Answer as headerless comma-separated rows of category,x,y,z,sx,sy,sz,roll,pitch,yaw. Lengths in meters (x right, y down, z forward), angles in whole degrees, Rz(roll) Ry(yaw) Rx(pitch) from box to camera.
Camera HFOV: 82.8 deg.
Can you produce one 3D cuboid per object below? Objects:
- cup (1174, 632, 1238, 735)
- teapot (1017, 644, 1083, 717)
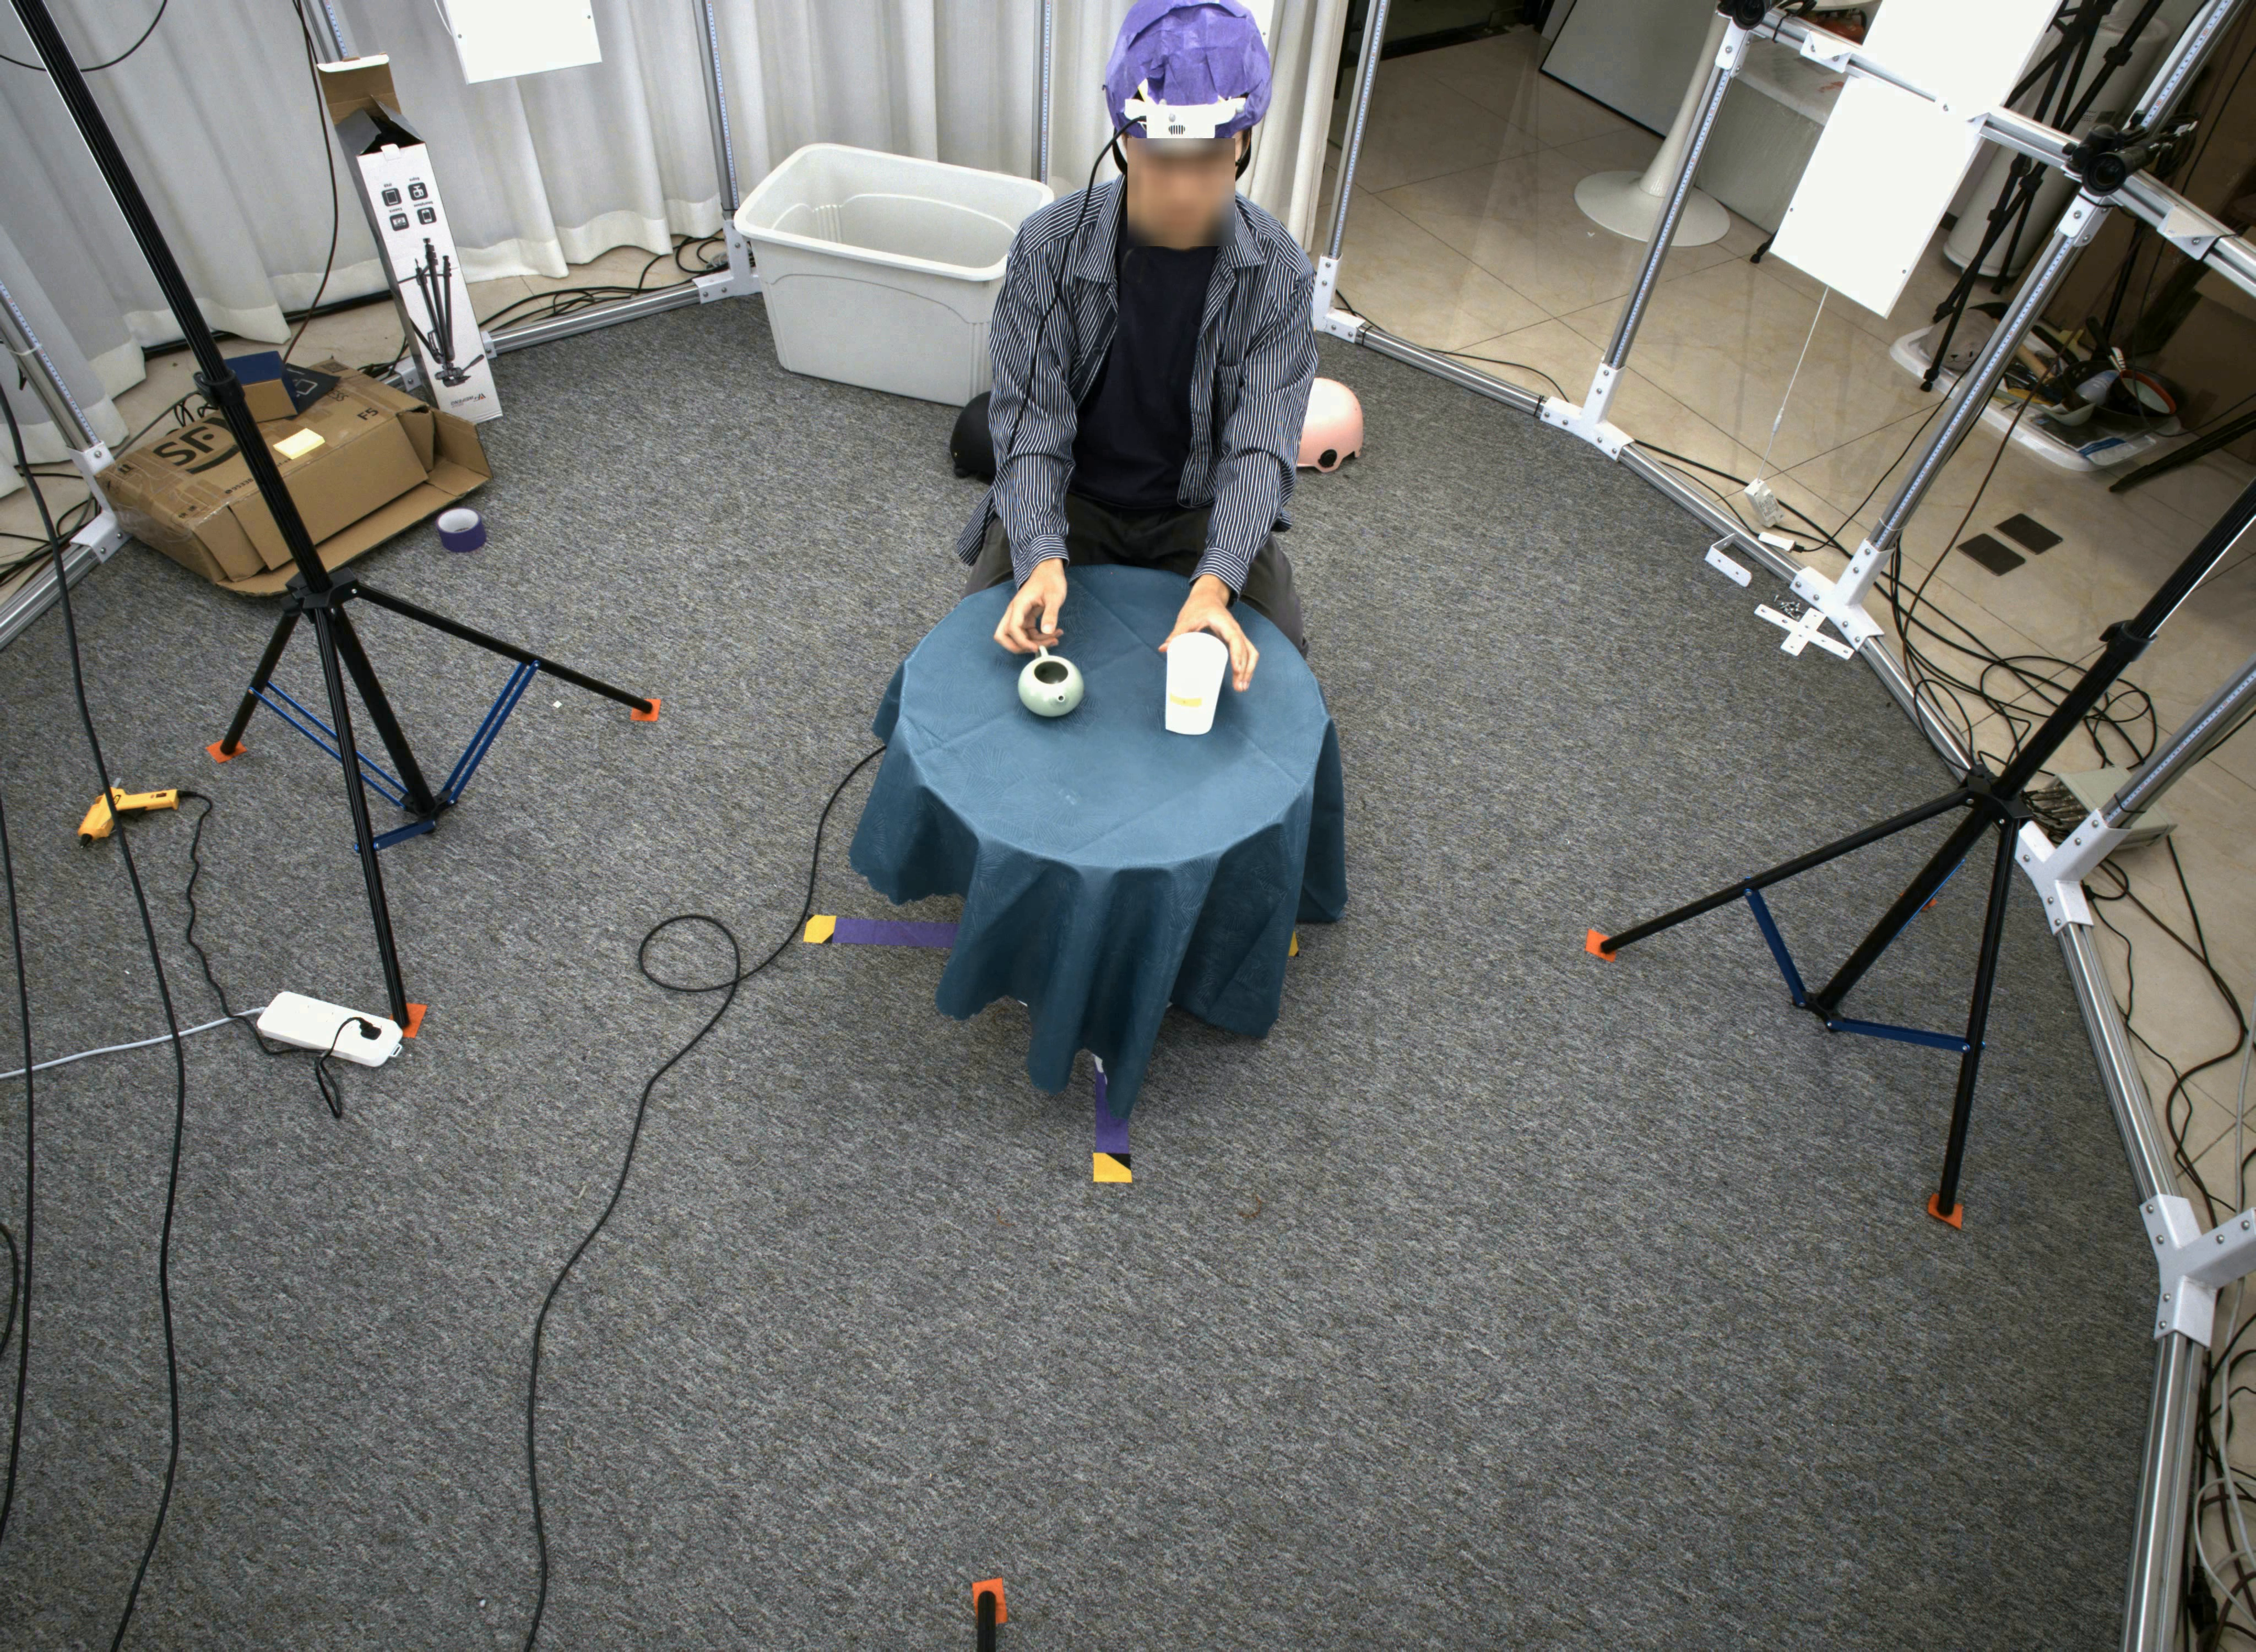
cup,0.102,-0.191,1.749,0.081,0.122,0.084,2,49,-3
teapot,-0.110,-0.201,1.786,0.091,0.059,0.132,-8,50,-10
